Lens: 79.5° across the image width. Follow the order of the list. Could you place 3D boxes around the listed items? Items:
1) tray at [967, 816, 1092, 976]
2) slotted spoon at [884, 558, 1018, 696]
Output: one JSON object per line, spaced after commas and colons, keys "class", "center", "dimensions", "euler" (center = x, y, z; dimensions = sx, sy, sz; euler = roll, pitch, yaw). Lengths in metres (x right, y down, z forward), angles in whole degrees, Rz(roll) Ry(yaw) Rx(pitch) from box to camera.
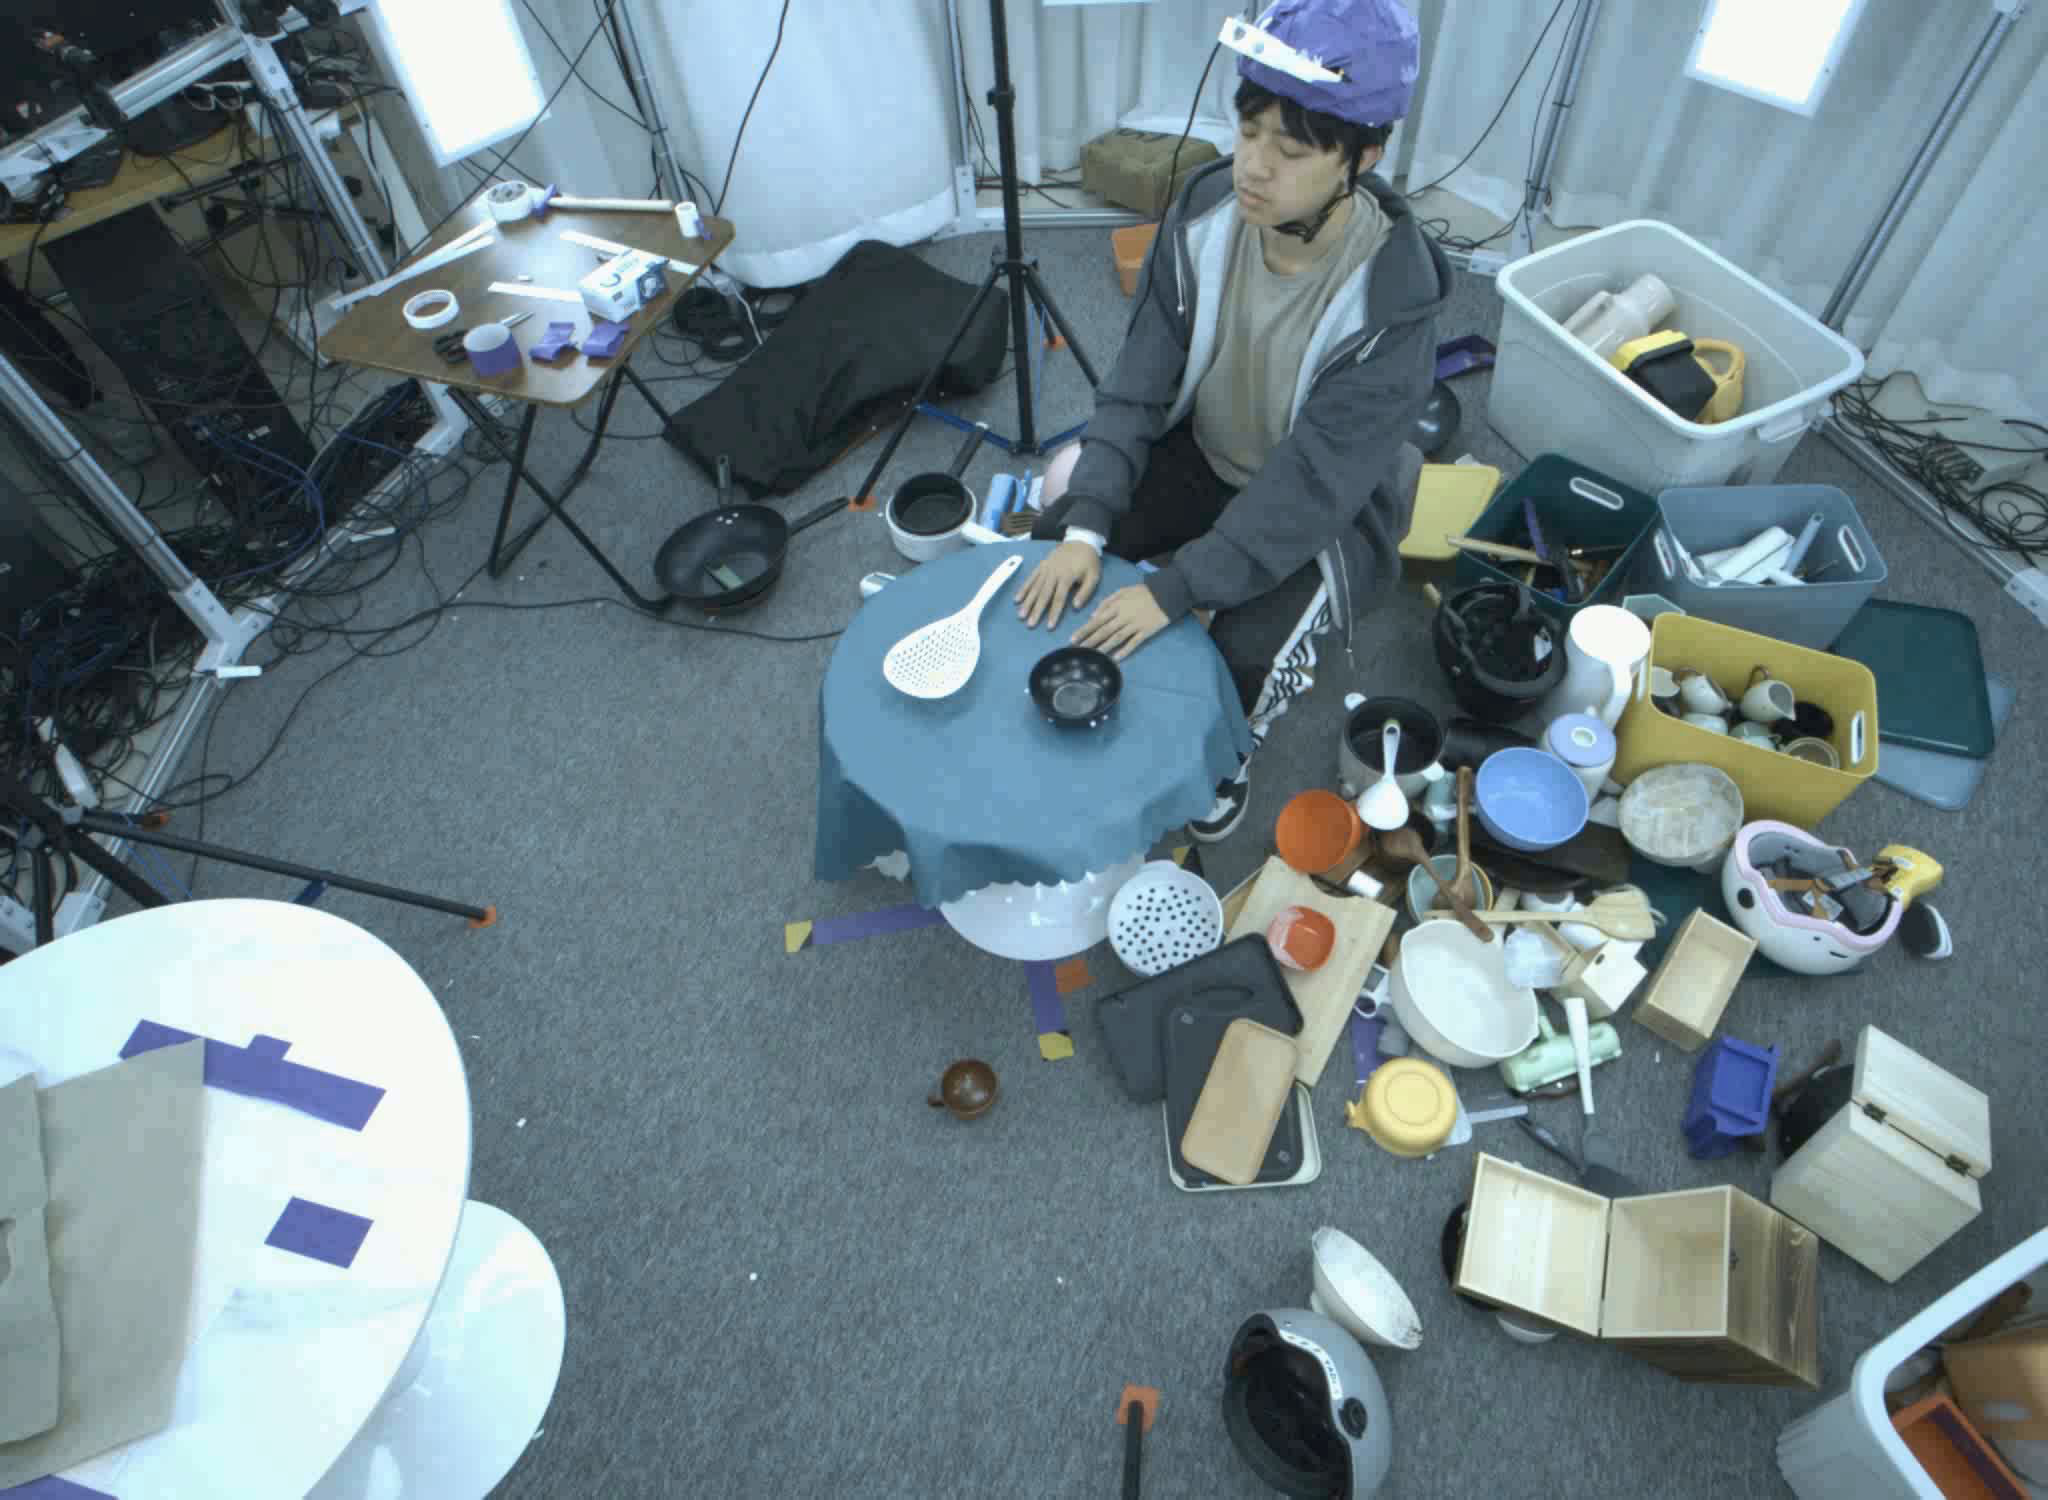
{"class": "tray", "center": [0.007, 0.266, 2.278], "dimensions": [0.192, 0.028, 0.296], "euler": [-9, 56, -4]}
{"class": "slotted spoon", "center": [-0.089, -0.200, 1.910], "dimensions": [0.135, 0.051, 0.348], "euler": [19, 57, 20]}
